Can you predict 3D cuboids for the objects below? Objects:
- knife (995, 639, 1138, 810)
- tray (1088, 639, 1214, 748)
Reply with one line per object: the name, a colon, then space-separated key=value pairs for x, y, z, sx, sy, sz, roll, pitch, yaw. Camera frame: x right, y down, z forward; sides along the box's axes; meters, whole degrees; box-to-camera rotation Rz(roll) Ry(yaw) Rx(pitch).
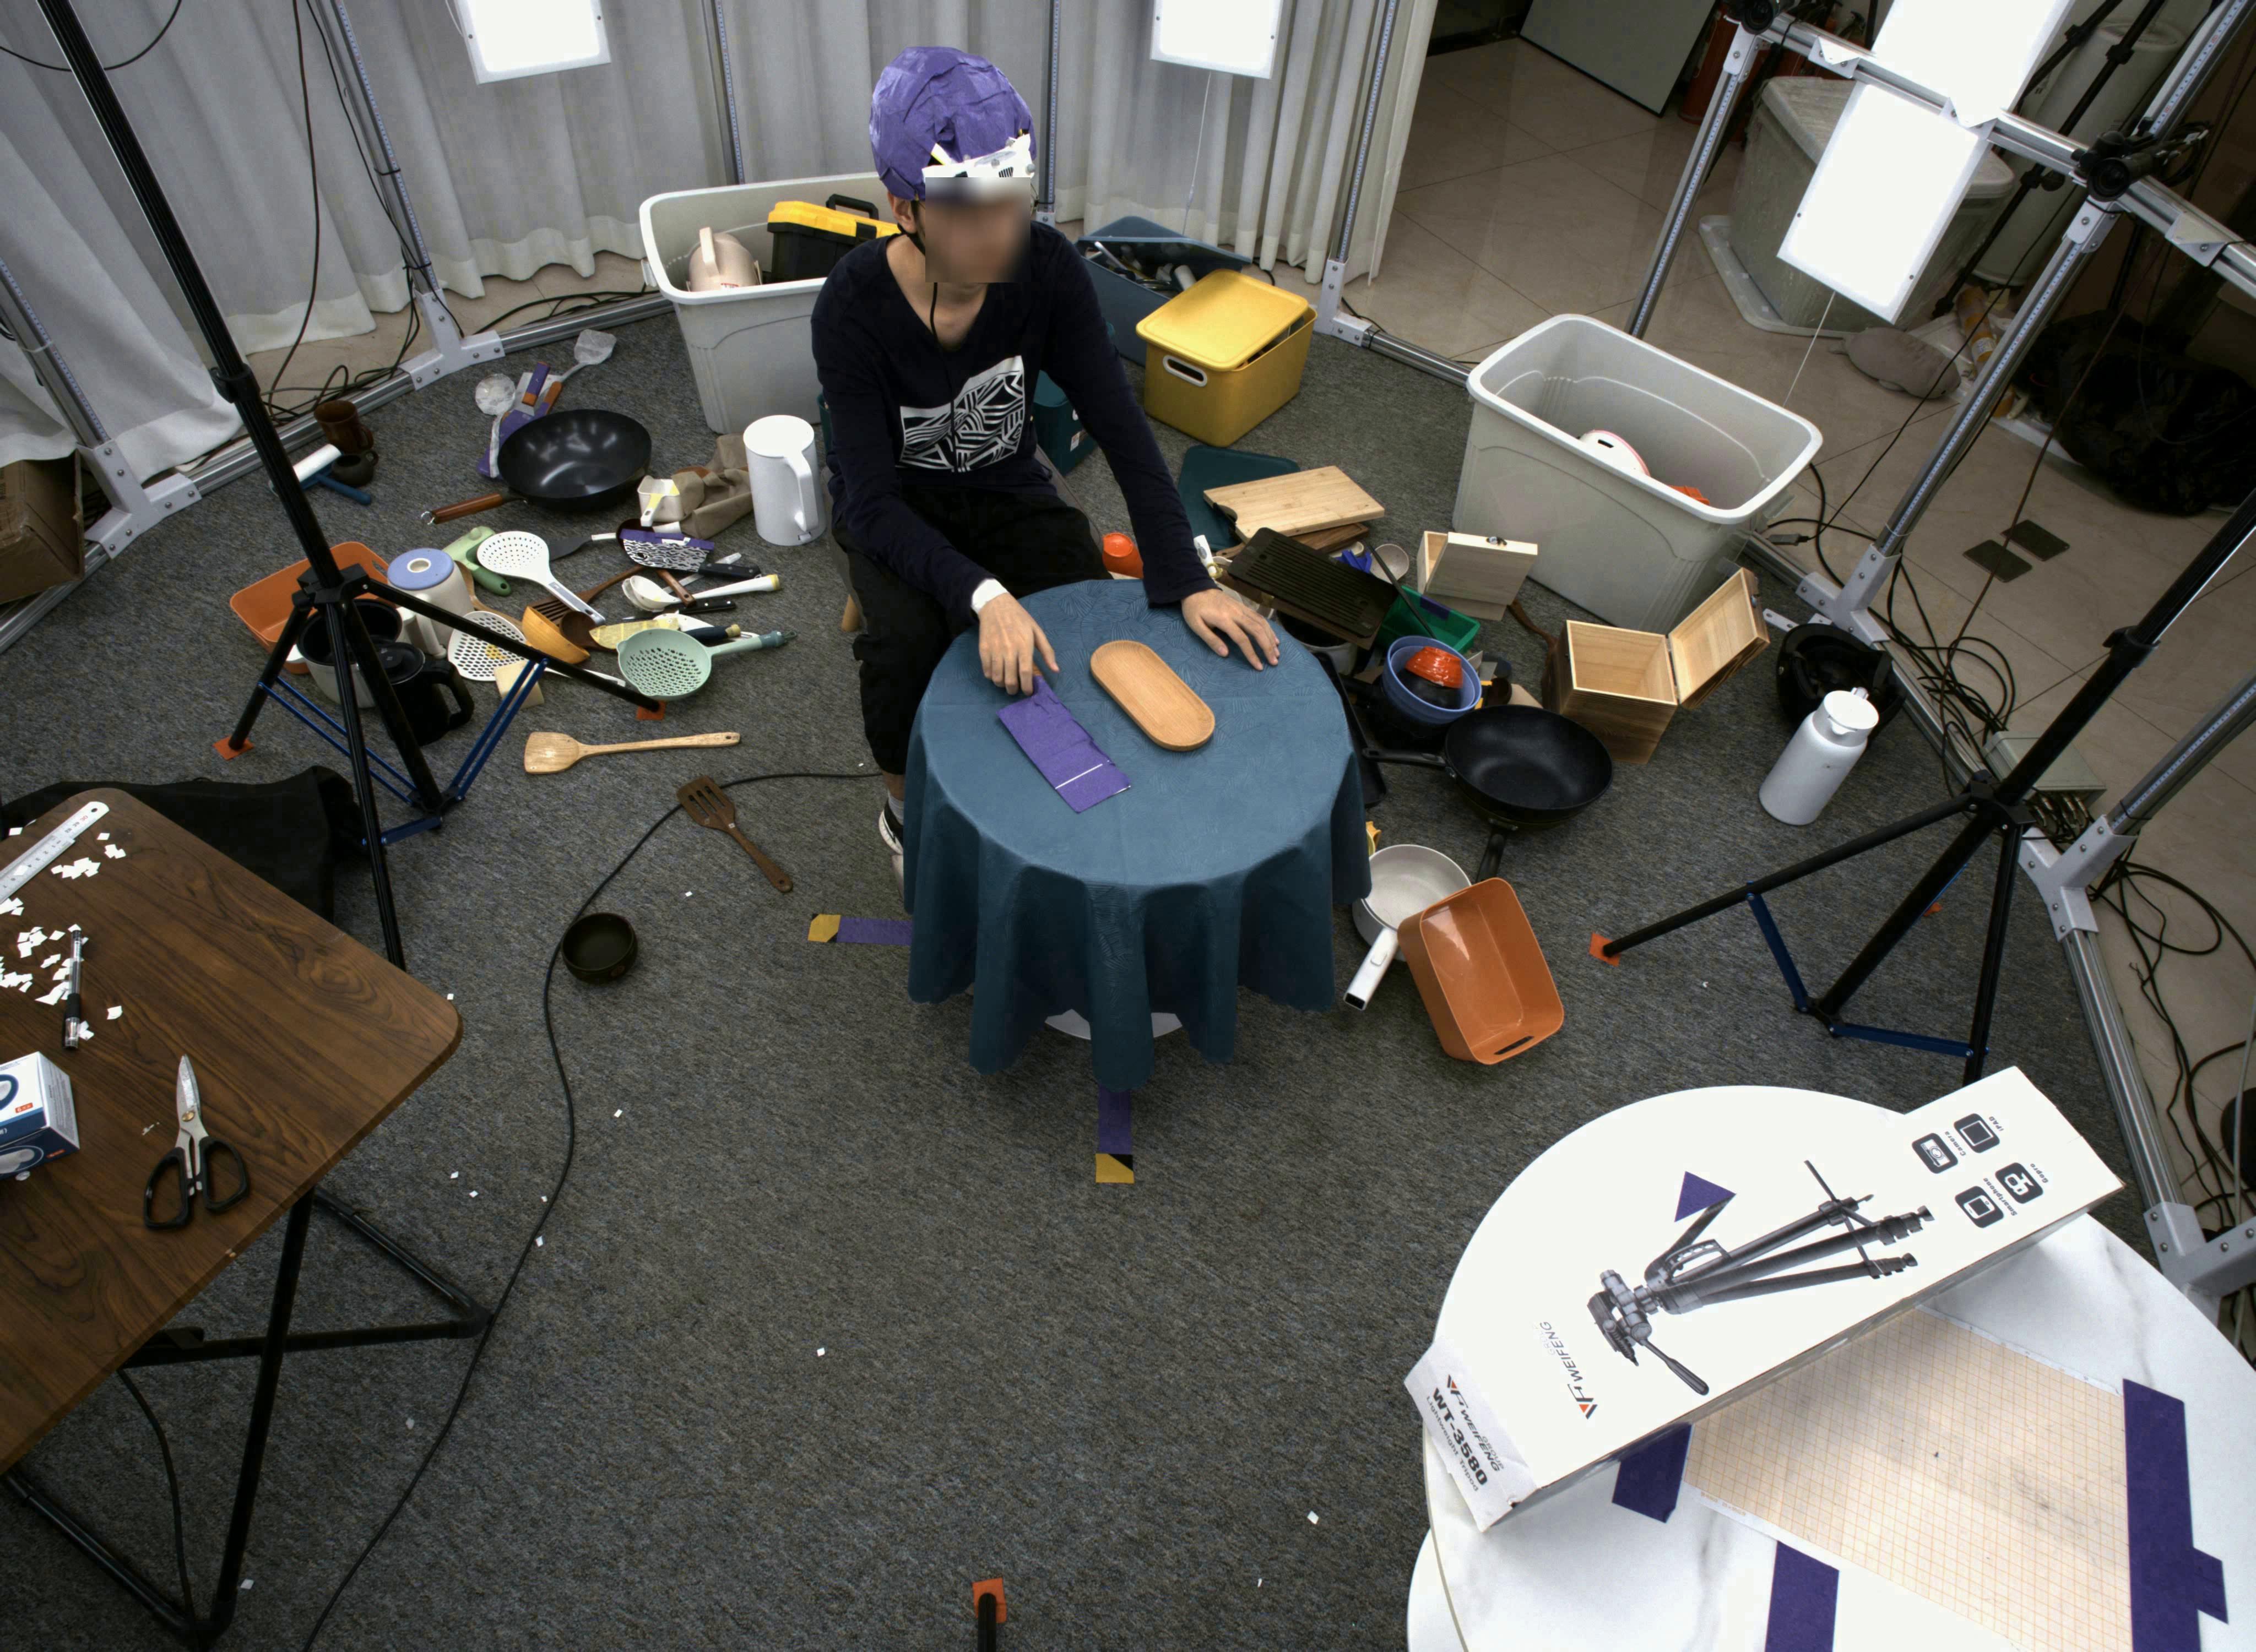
knife: x=-0.116 y=-0.144 z=1.767 sx=0.104 sy=0.031 sz=0.321 roll=-26 pitch=56 yaw=-24
tray: x=0.031 y=-0.190 z=1.824 sx=0.102 sy=0.020 sz=0.235 roll=-26 pitch=54 yaw=-25
